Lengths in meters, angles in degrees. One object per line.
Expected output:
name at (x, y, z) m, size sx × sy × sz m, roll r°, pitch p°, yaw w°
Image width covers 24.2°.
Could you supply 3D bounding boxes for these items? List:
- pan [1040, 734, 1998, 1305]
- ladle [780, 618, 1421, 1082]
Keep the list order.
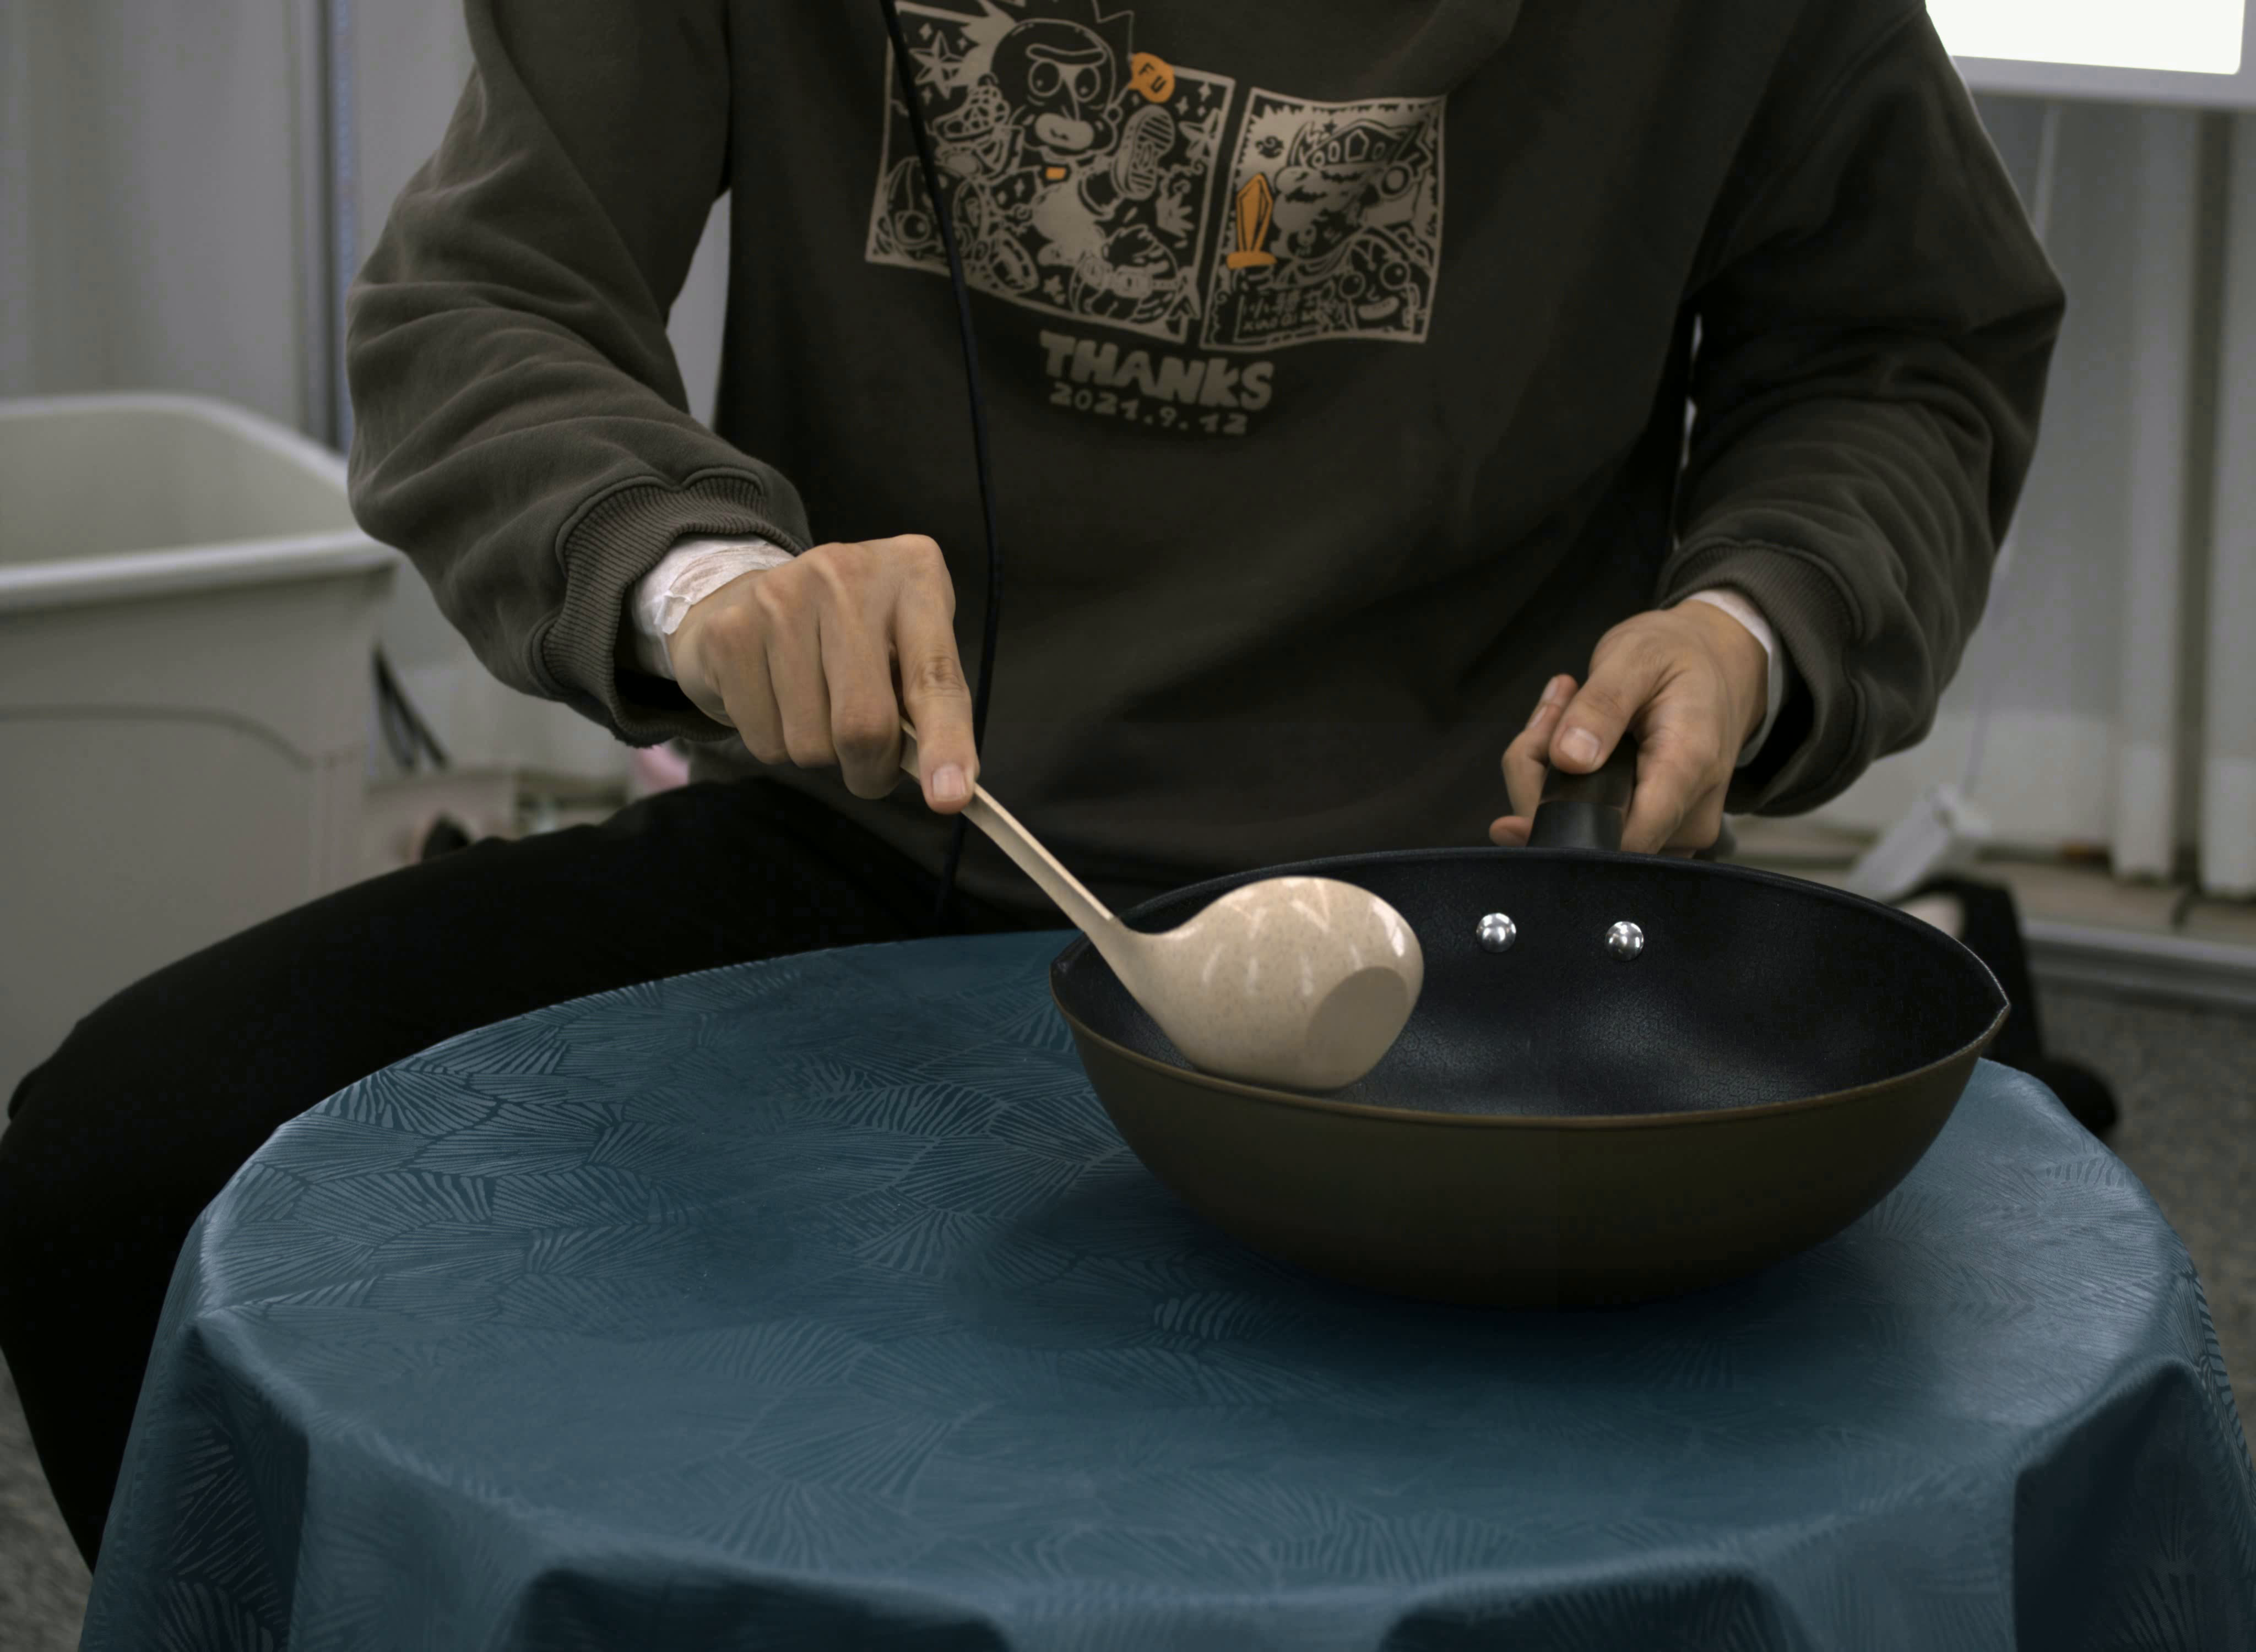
pan at (0.131, 0.059, 1.675) m, size 0.286 × 0.087 × 0.462 m, roll 3°, pitch 15°, yaw 9°
ladle at (-0.008, -0.007, 1.563) m, size 0.073 × 0.073 × 0.251 m, roll -27°, pitch 47°, yaw -21°
